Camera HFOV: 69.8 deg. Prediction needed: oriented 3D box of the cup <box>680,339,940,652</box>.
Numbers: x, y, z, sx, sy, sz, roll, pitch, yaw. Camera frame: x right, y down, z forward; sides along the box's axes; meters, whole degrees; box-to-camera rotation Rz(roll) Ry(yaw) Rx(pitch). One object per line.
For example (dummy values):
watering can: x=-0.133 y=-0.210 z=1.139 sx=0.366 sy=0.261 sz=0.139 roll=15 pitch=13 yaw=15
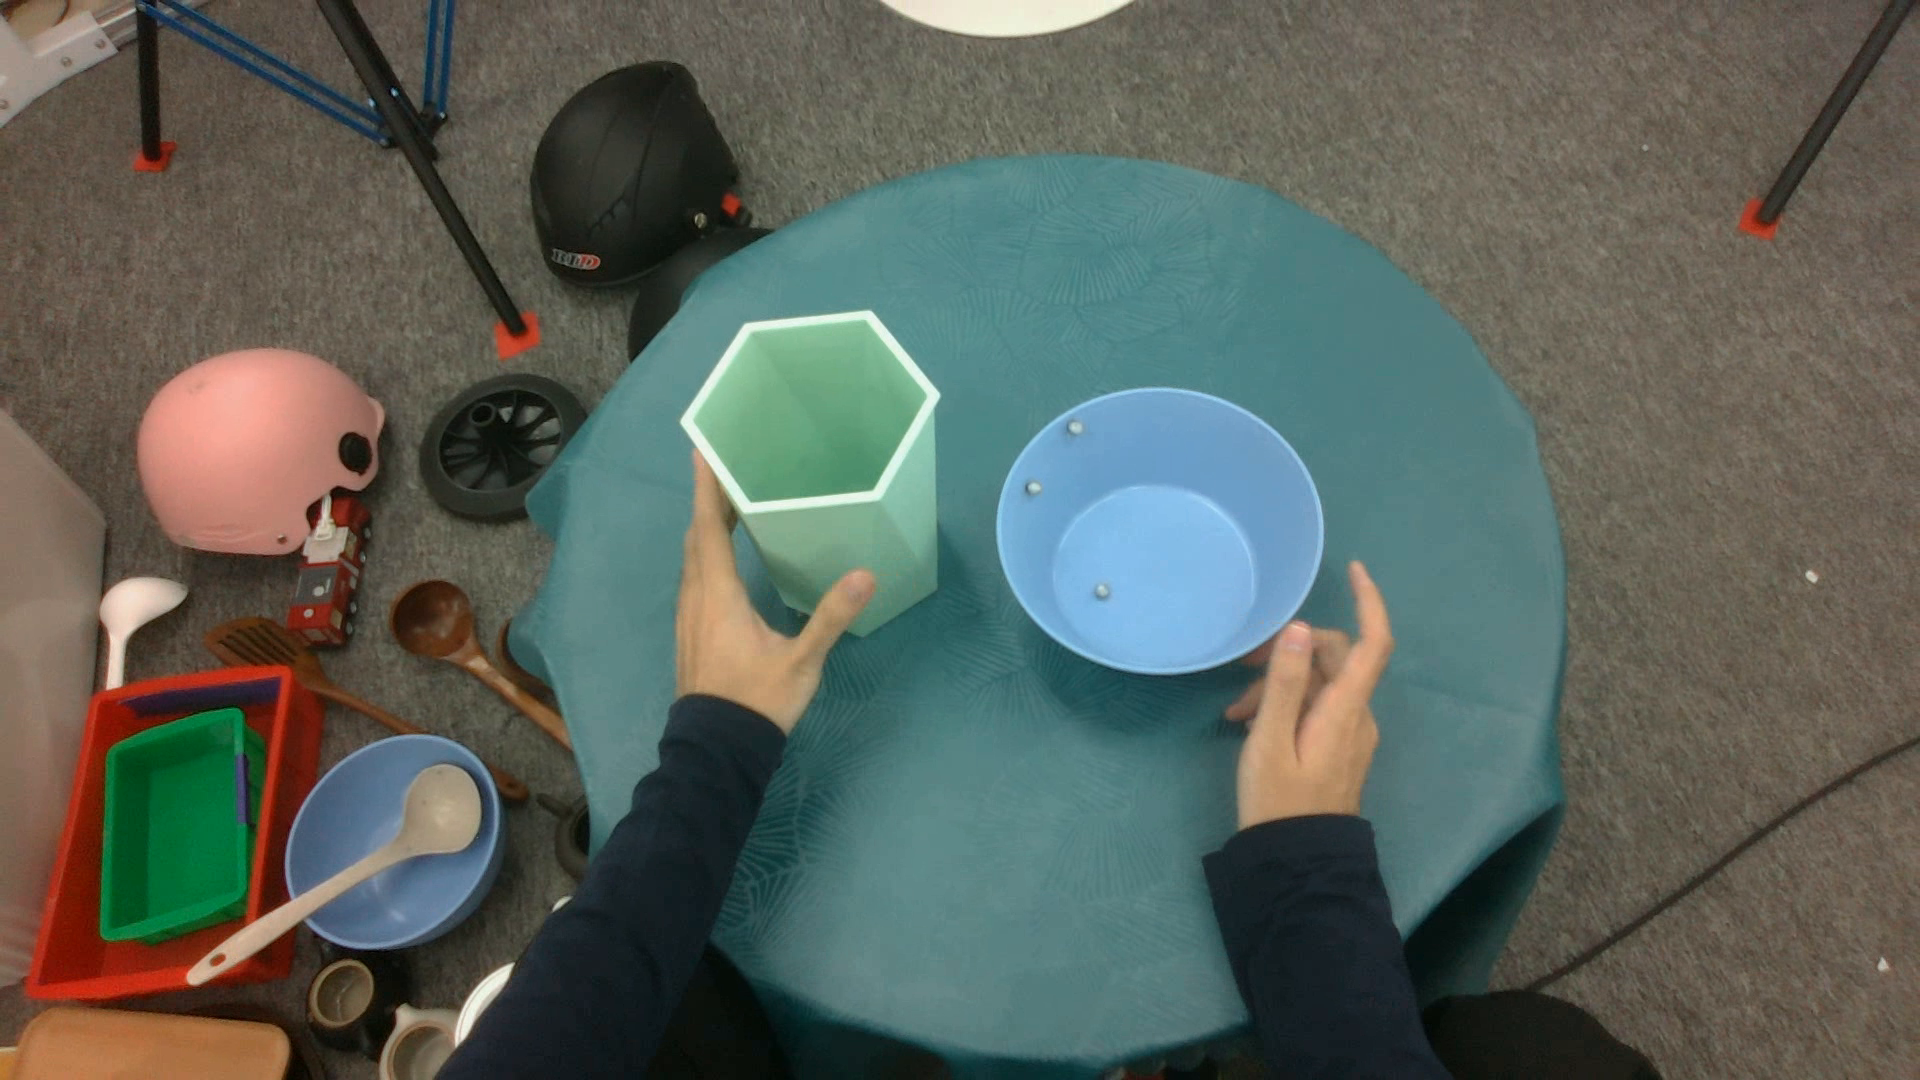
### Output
cup: x=-0.070 y=-0.016 z=0.770 sx=0.131 sy=0.162 sz=0.115 roll=-10 pitch=62 yaw=2

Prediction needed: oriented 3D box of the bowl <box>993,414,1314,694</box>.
bowl: x=0.108 y=0.018 z=0.785 sx=0.176 sy=0.070 sz=0.177 roll=-3 pitch=60 yaw=5
